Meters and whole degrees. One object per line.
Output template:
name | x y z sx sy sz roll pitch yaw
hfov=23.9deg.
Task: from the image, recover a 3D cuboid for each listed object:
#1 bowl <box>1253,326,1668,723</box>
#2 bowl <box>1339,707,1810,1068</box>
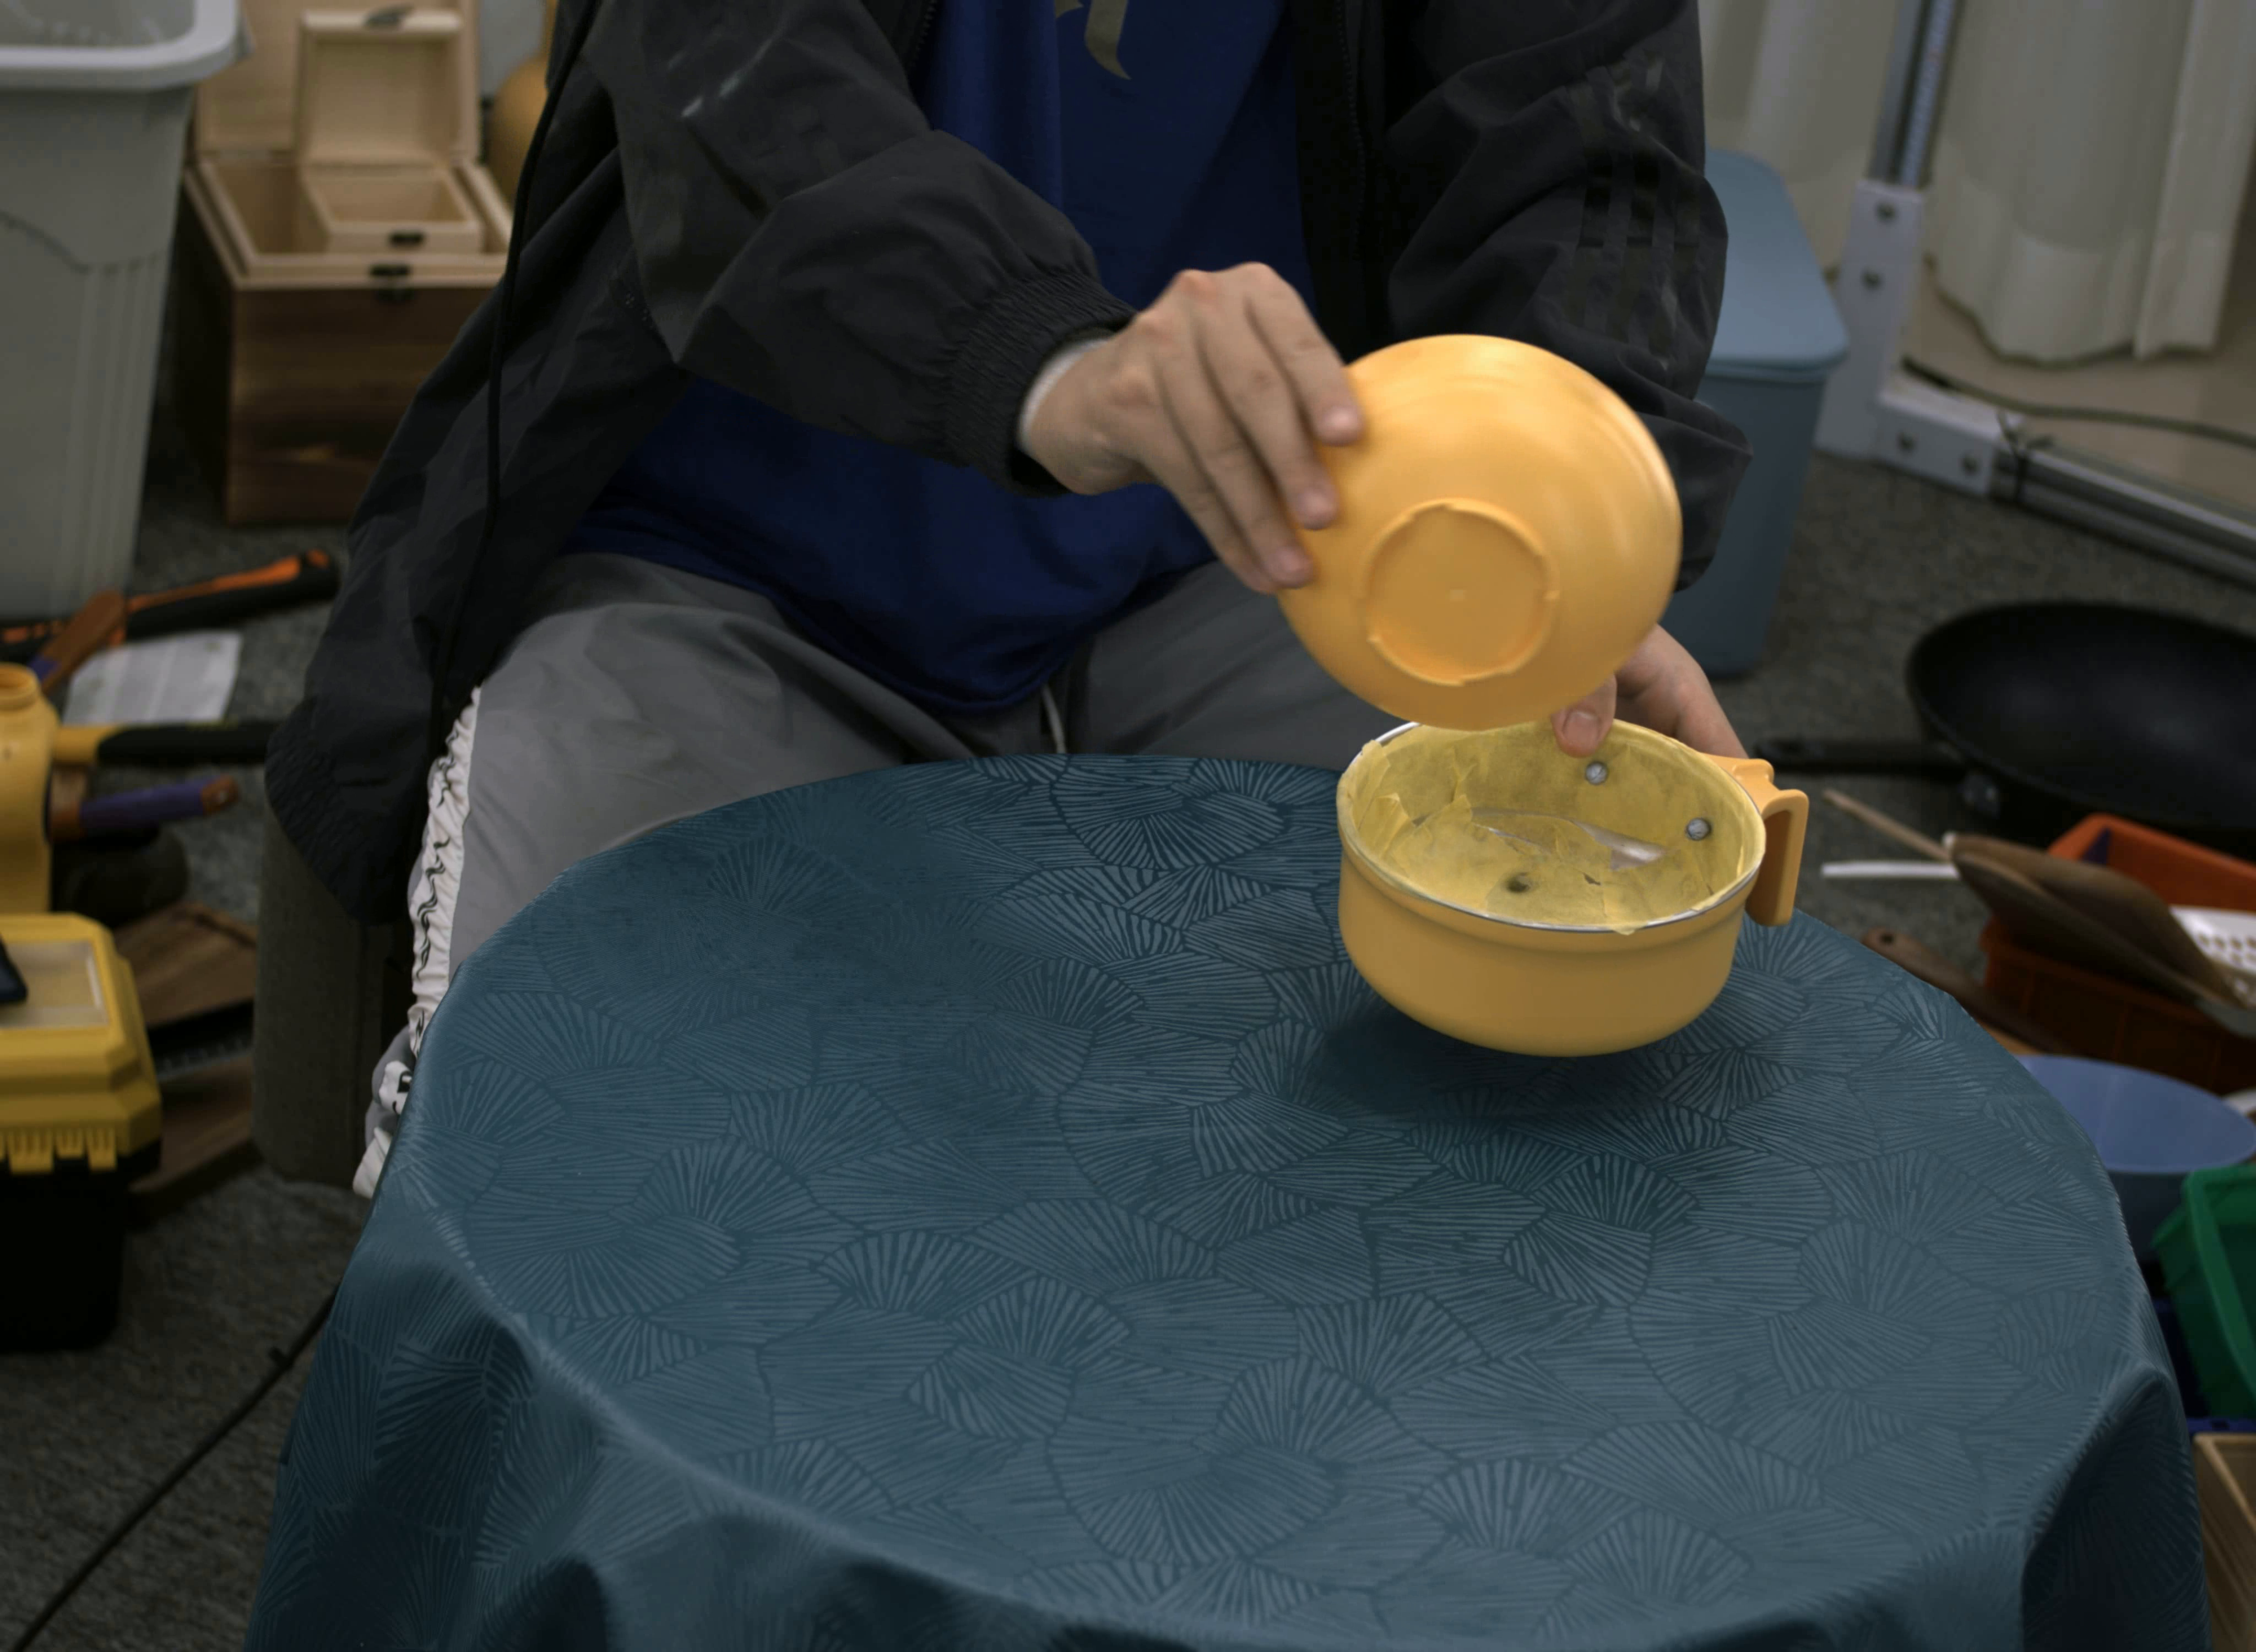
bowl | 0.108 -0.091 1.805 0.145 0.145 0.060 11 28 7
bowl | 0.161 0.023 1.895 0.178 0.074 0.154 -15 35 -27
